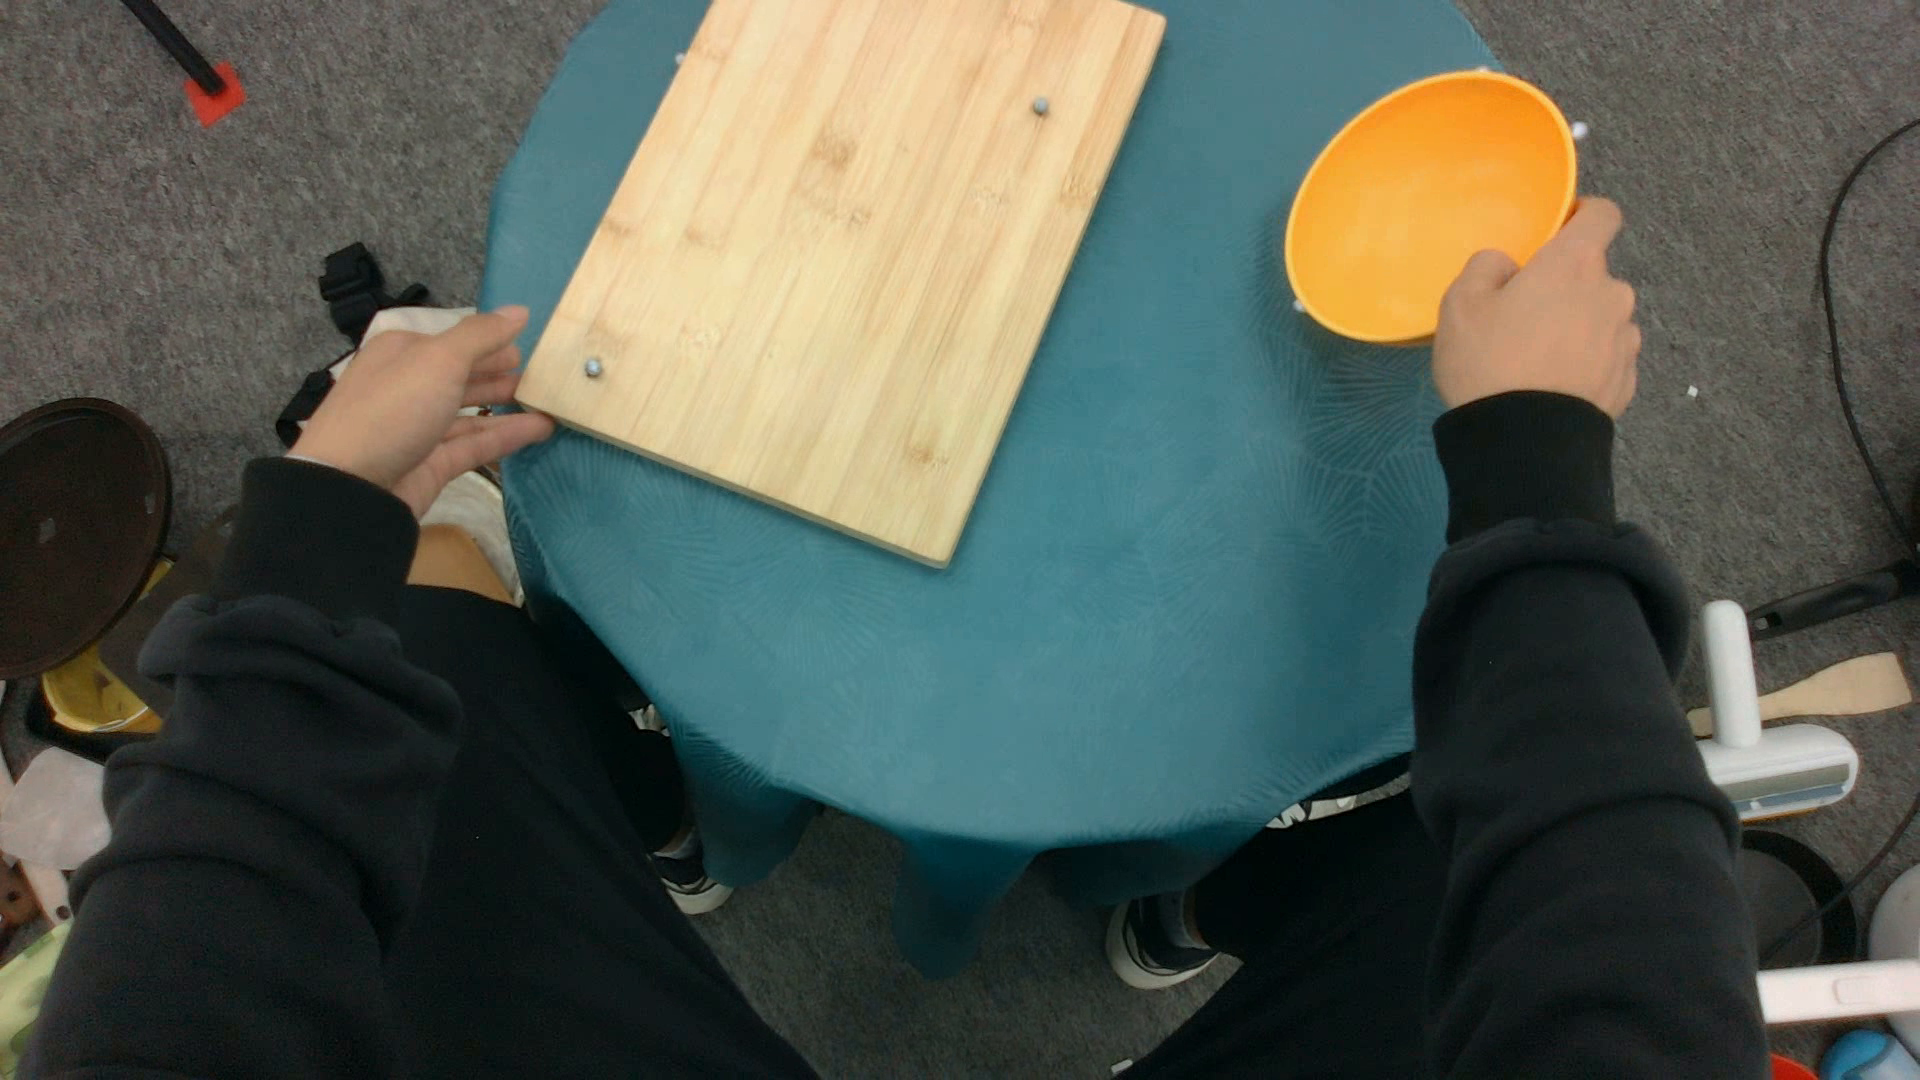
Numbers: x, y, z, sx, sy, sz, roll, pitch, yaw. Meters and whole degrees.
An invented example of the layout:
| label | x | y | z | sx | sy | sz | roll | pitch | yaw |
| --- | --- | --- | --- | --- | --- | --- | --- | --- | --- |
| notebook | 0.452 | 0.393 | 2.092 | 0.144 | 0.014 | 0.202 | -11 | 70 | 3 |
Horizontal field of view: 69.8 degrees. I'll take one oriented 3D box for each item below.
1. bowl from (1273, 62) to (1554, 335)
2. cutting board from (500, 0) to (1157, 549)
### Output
| label | x | y | z | sx | sy | sz | roll | pitch | yaw |
| --- | --- | --- | --- | --- | --- | --- | --- | --- | --- |
| bowl | 0.237 | -0.163 | 0.699 | 0.145 | 0.060 | 0.146 | -18 | 62 | 38 |
| cutting board | -0.063 | -0.192 | 0.749 | 0.250 | 0.023 | 0.349 | 20 | 75 | 3 |
